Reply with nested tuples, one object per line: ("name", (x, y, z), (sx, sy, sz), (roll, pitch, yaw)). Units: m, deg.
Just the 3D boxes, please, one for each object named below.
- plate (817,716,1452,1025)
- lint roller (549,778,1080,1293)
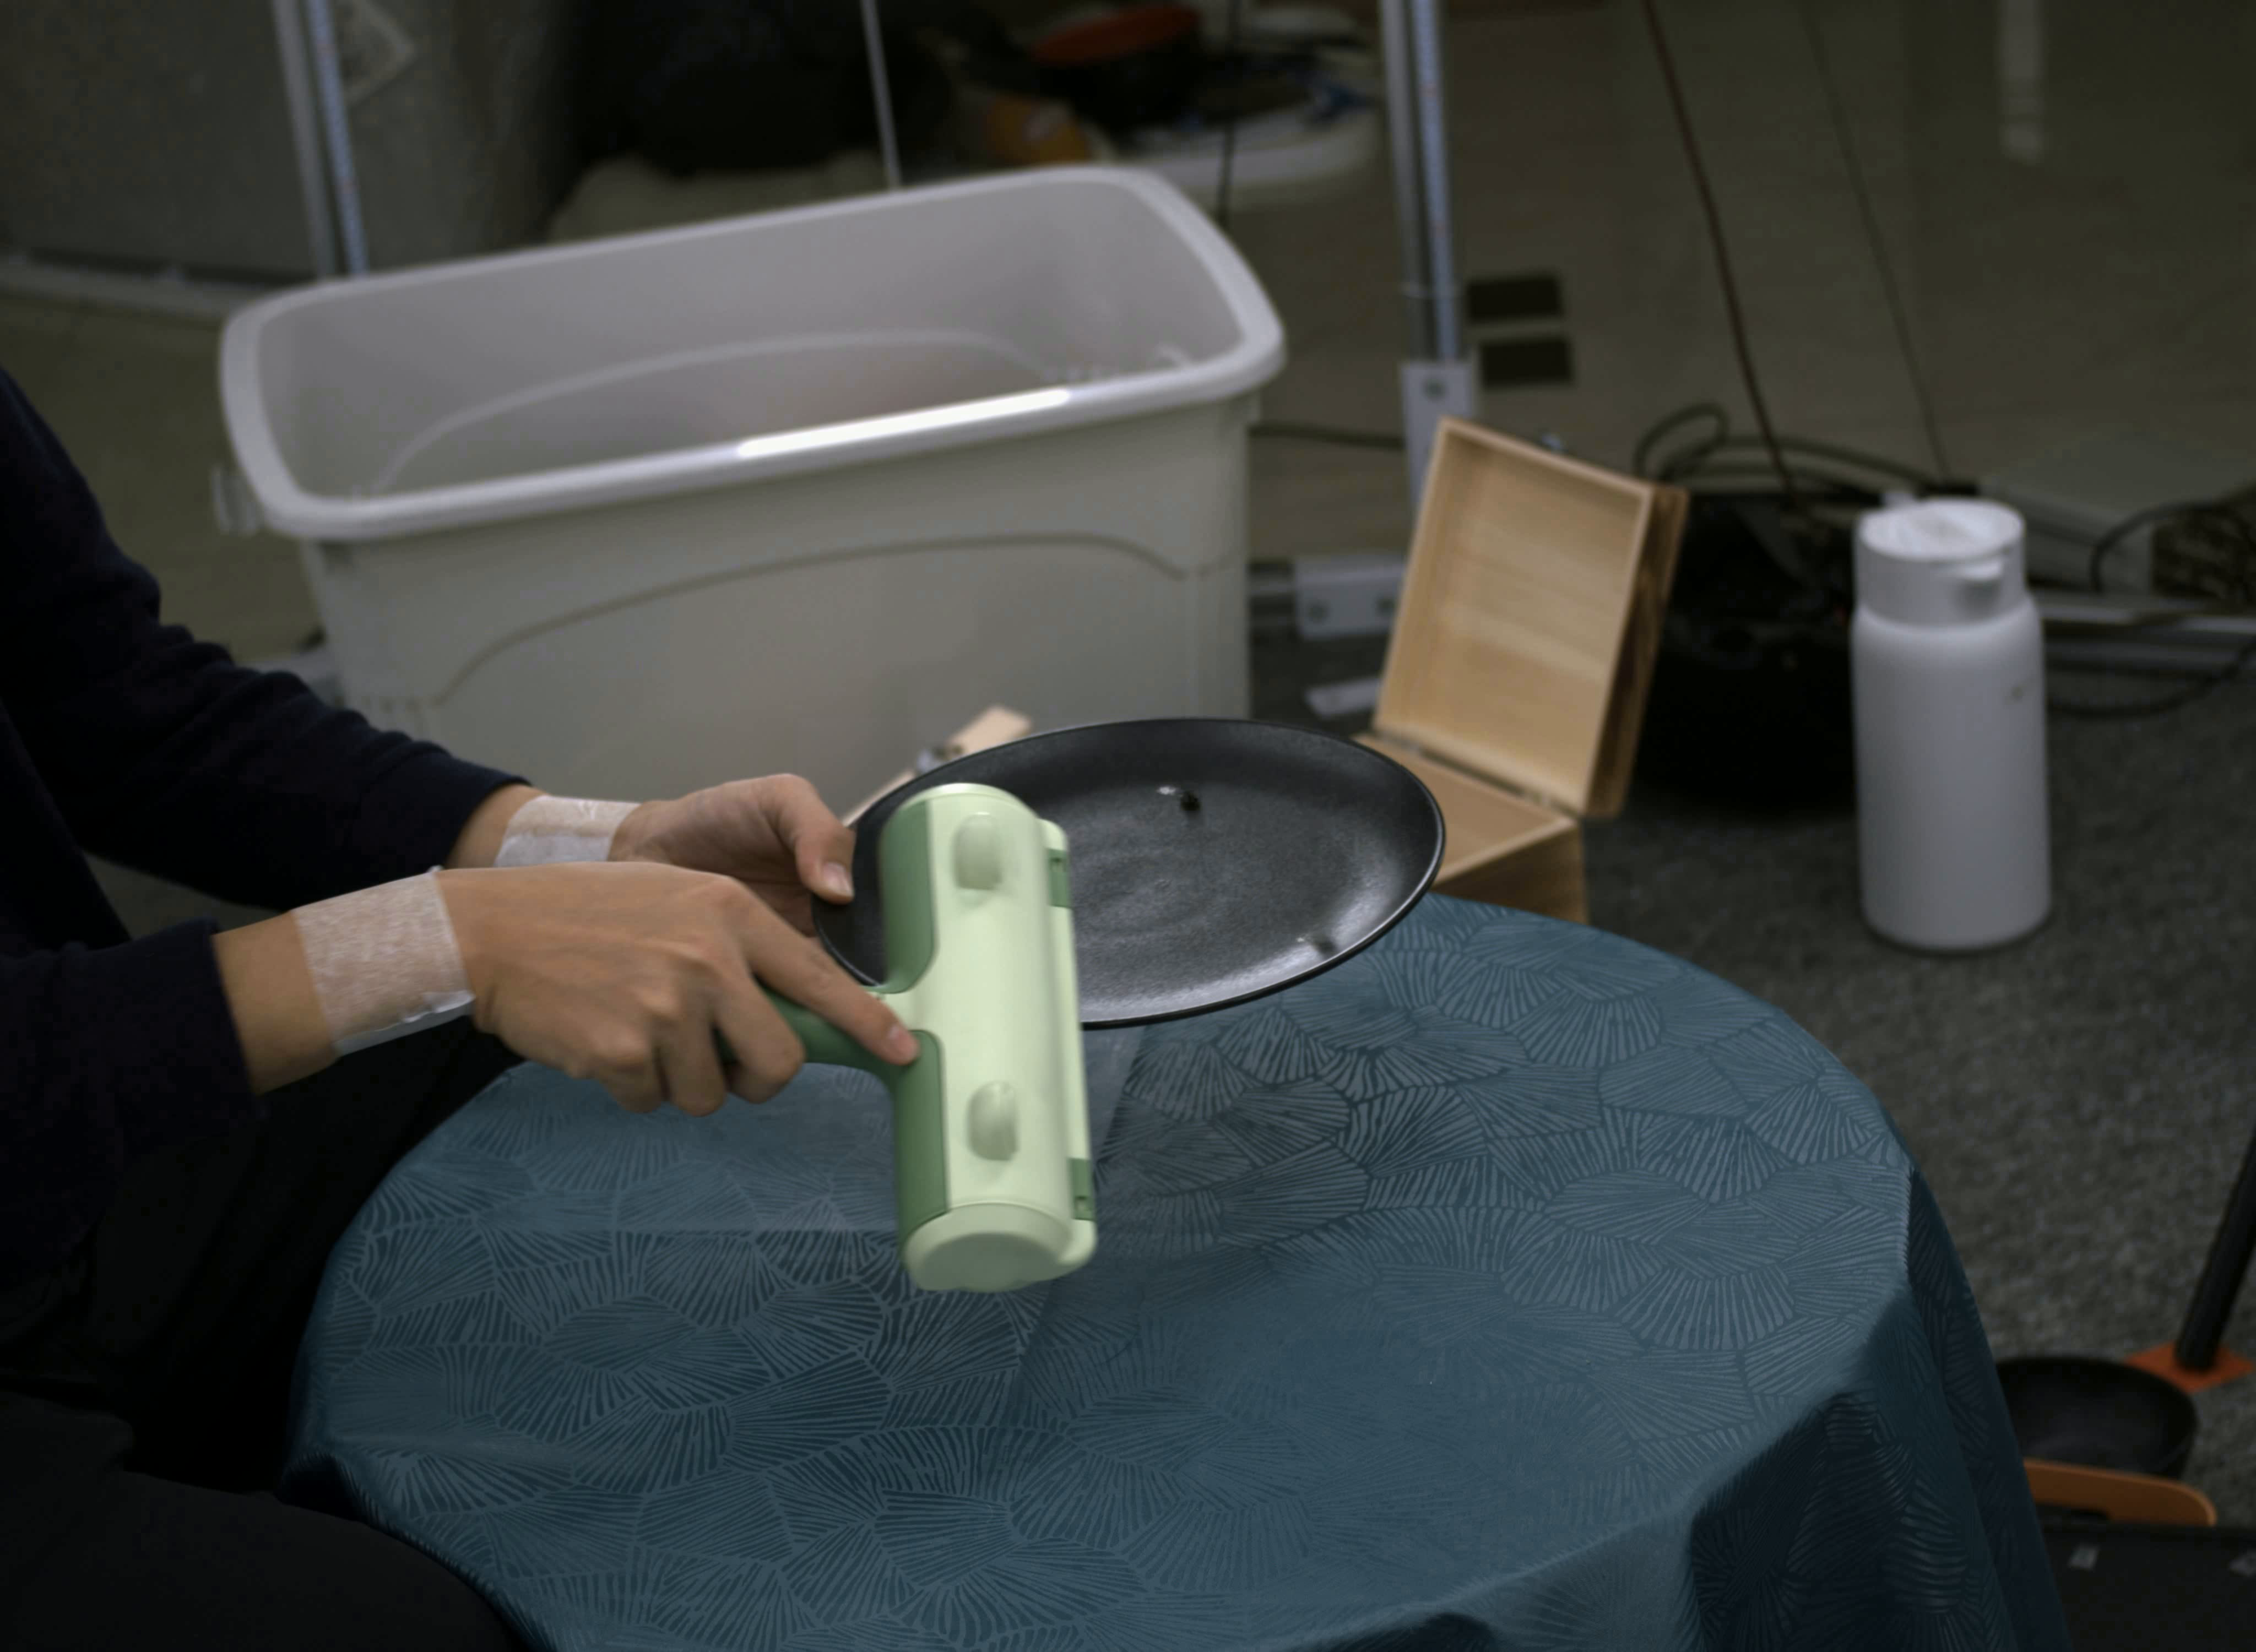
("plate", (0.003, 0.021, 2.150), (0.244, 0.024, 0.240), (-6, 27, 3))
("lint roller", (-0.106, 0.058, 1.994), (0.184, 0.083, 0.195), (13, 51, -25))
